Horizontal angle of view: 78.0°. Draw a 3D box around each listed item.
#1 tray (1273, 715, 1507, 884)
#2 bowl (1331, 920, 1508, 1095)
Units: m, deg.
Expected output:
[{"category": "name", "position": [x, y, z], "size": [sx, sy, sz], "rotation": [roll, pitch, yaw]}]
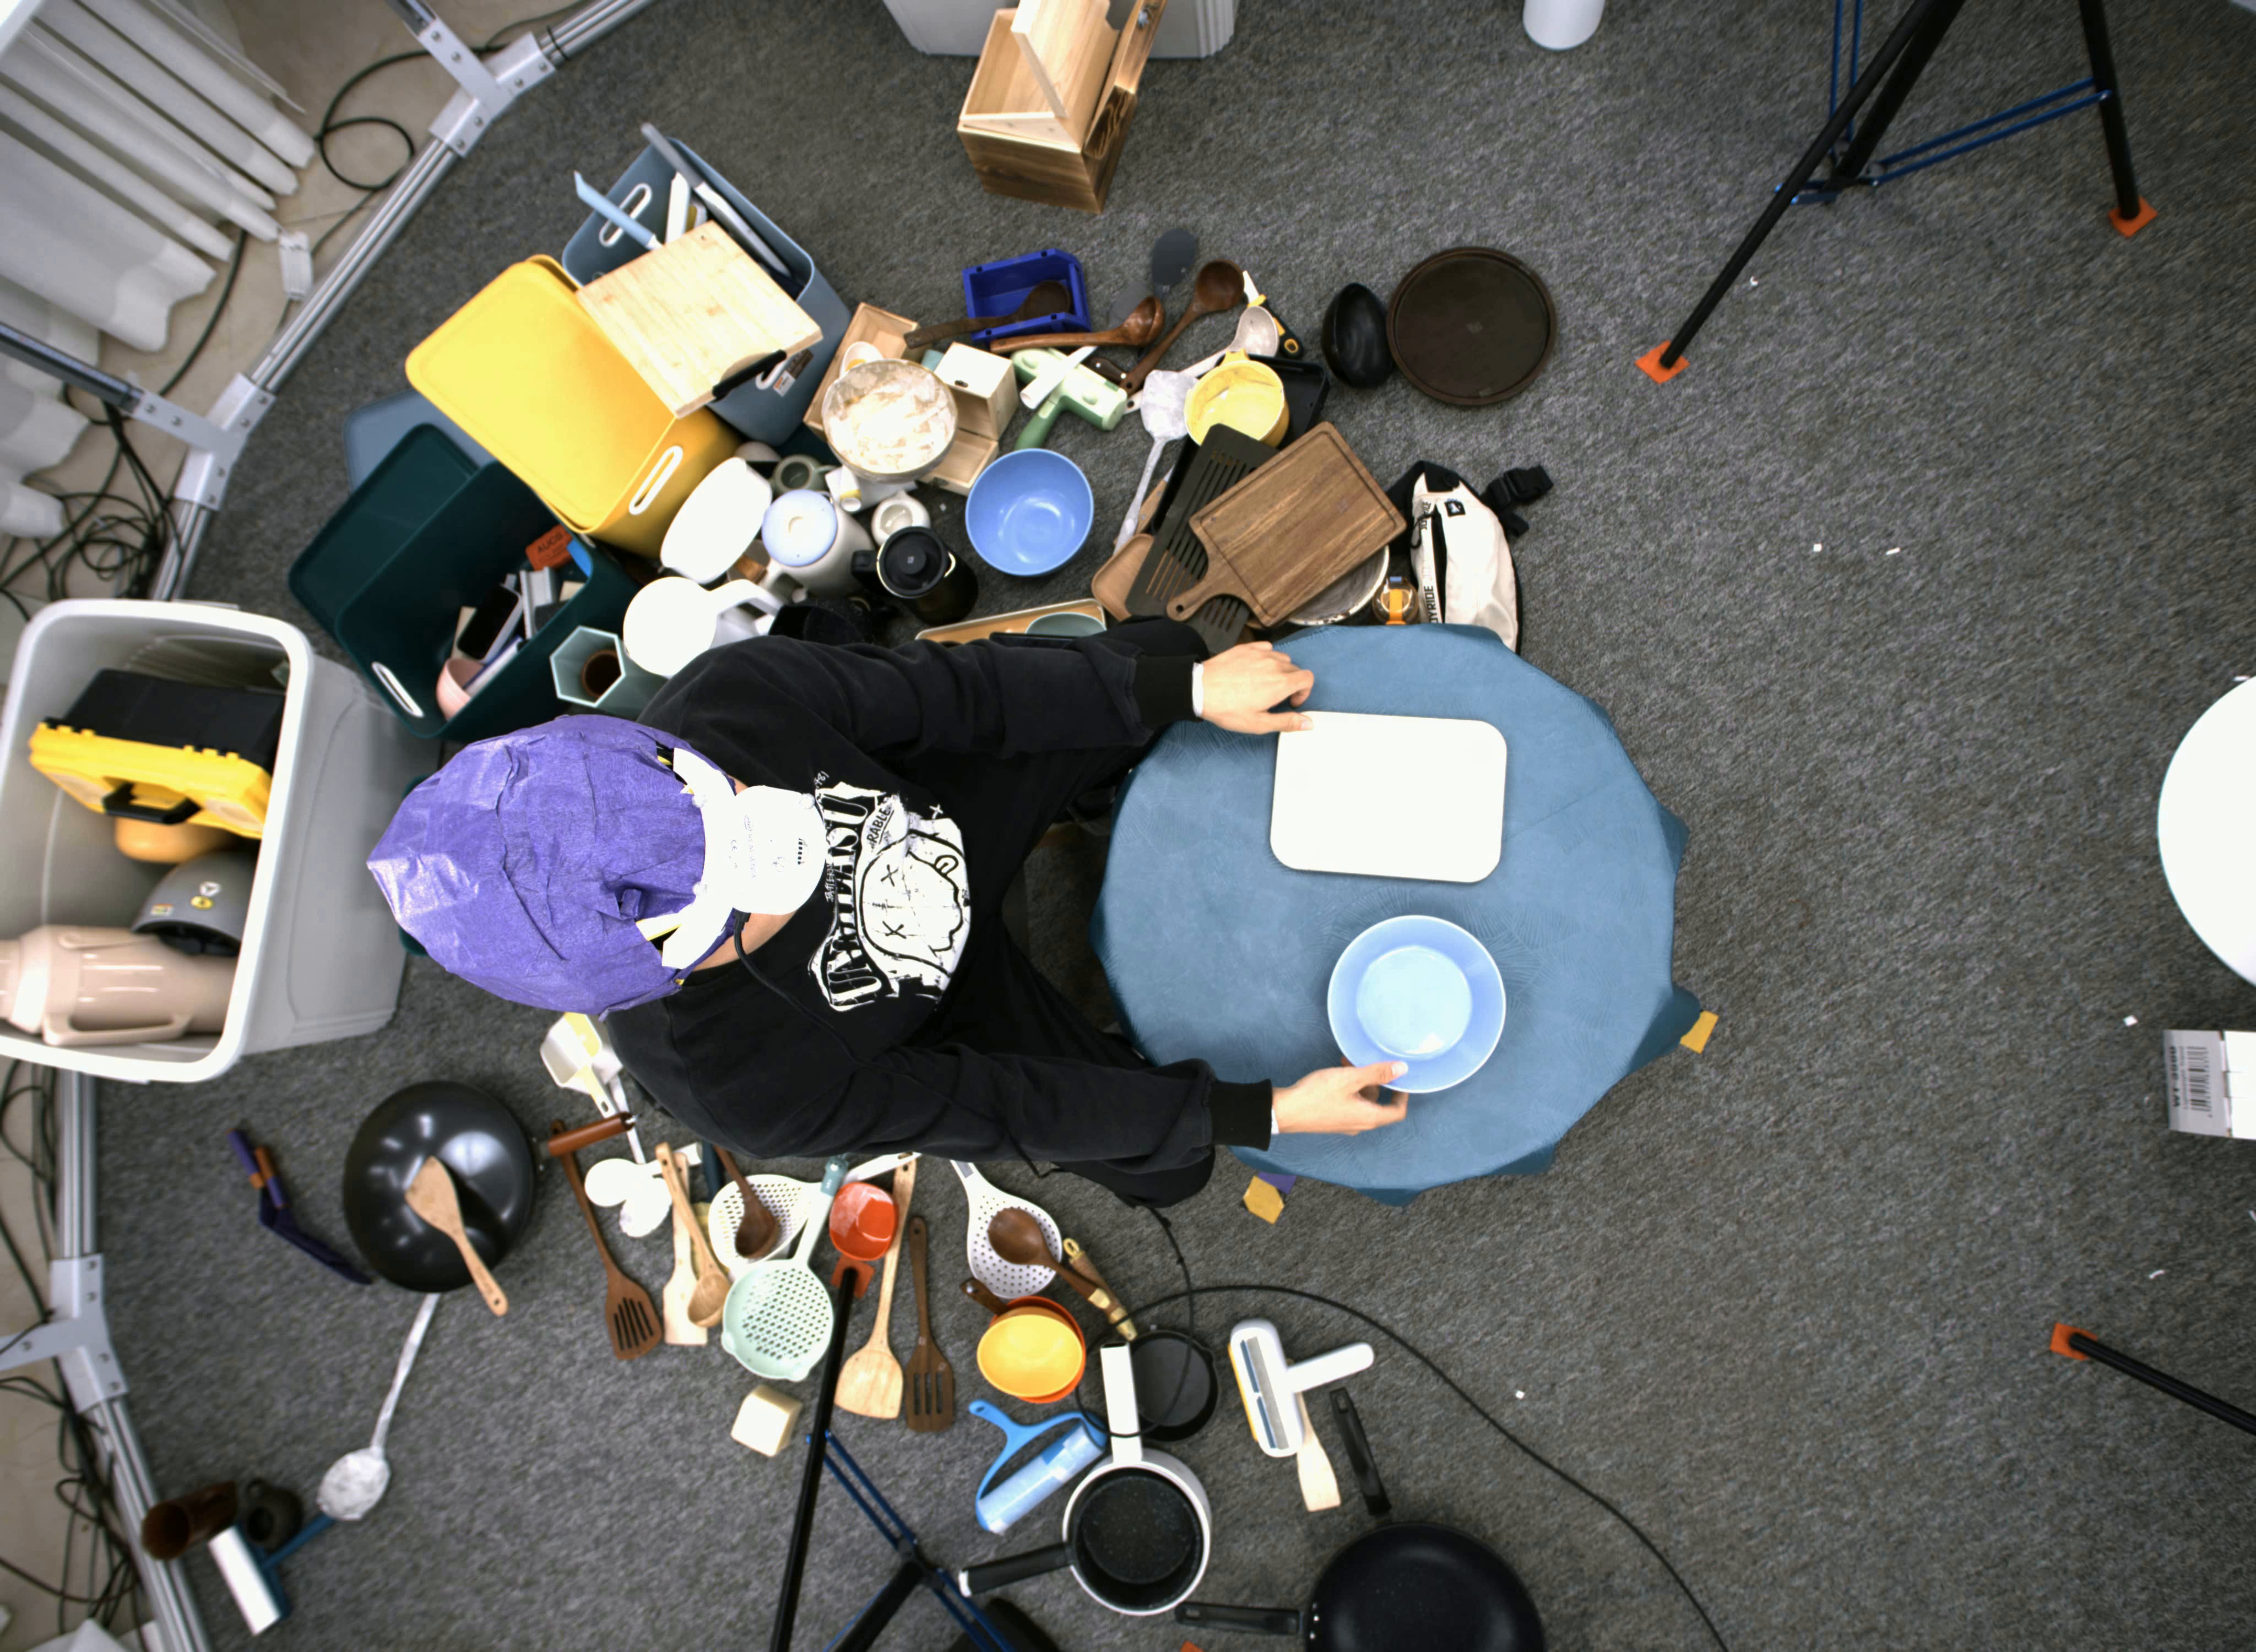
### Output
[{"category": "tray", "position": [0.277, -0.030, 1.461], "size": [0.240, 0.017, 0.170], "rotation": [4, 86, 10]}, {"category": "bowl", "position": [0.297, 0.184, 1.416], "size": [0.177, 0.070, 0.175], "rotation": [-1, 85, 10]}]
